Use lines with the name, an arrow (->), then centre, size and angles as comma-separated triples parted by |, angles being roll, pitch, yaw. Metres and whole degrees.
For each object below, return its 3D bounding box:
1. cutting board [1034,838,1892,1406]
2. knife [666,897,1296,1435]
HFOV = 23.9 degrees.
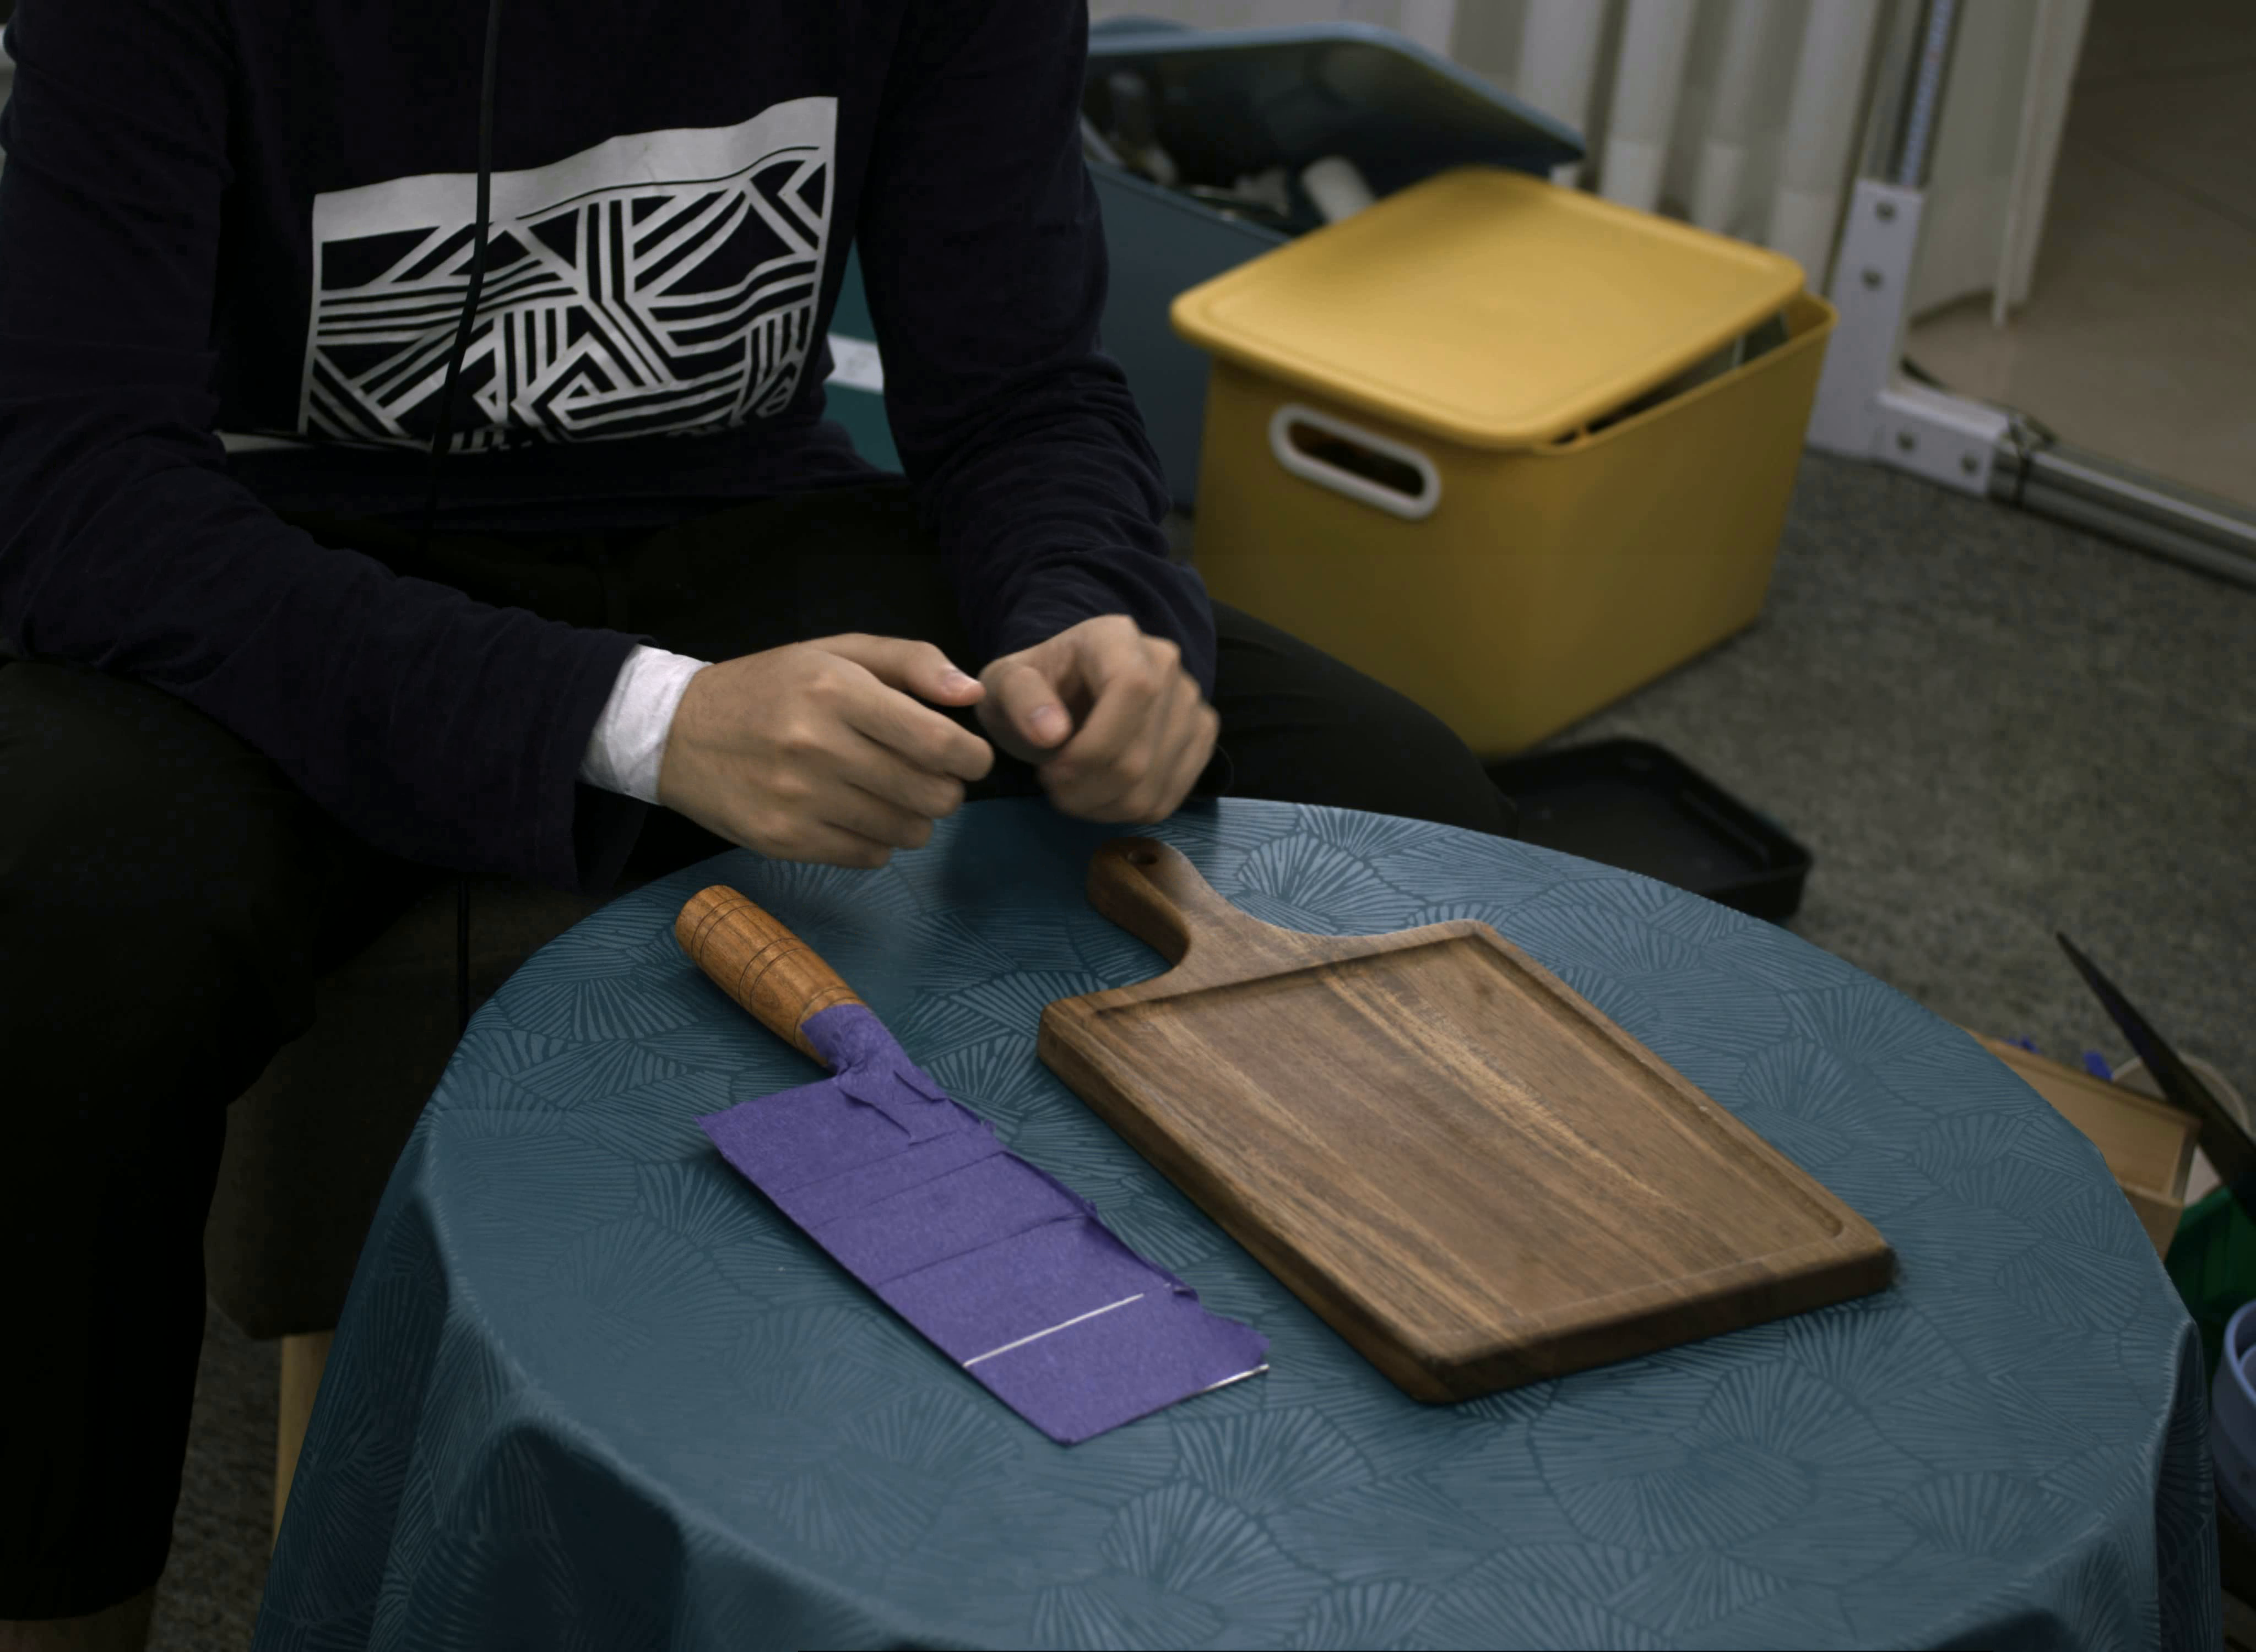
cutting board -> 0.087, 0.088, 1.873 | 0.200, 0.023, 0.355 | -11, 31, -30
knife -> -0.080, 0.110, 1.786 | 0.103, 0.032, 0.318 | -15, 34, -37
